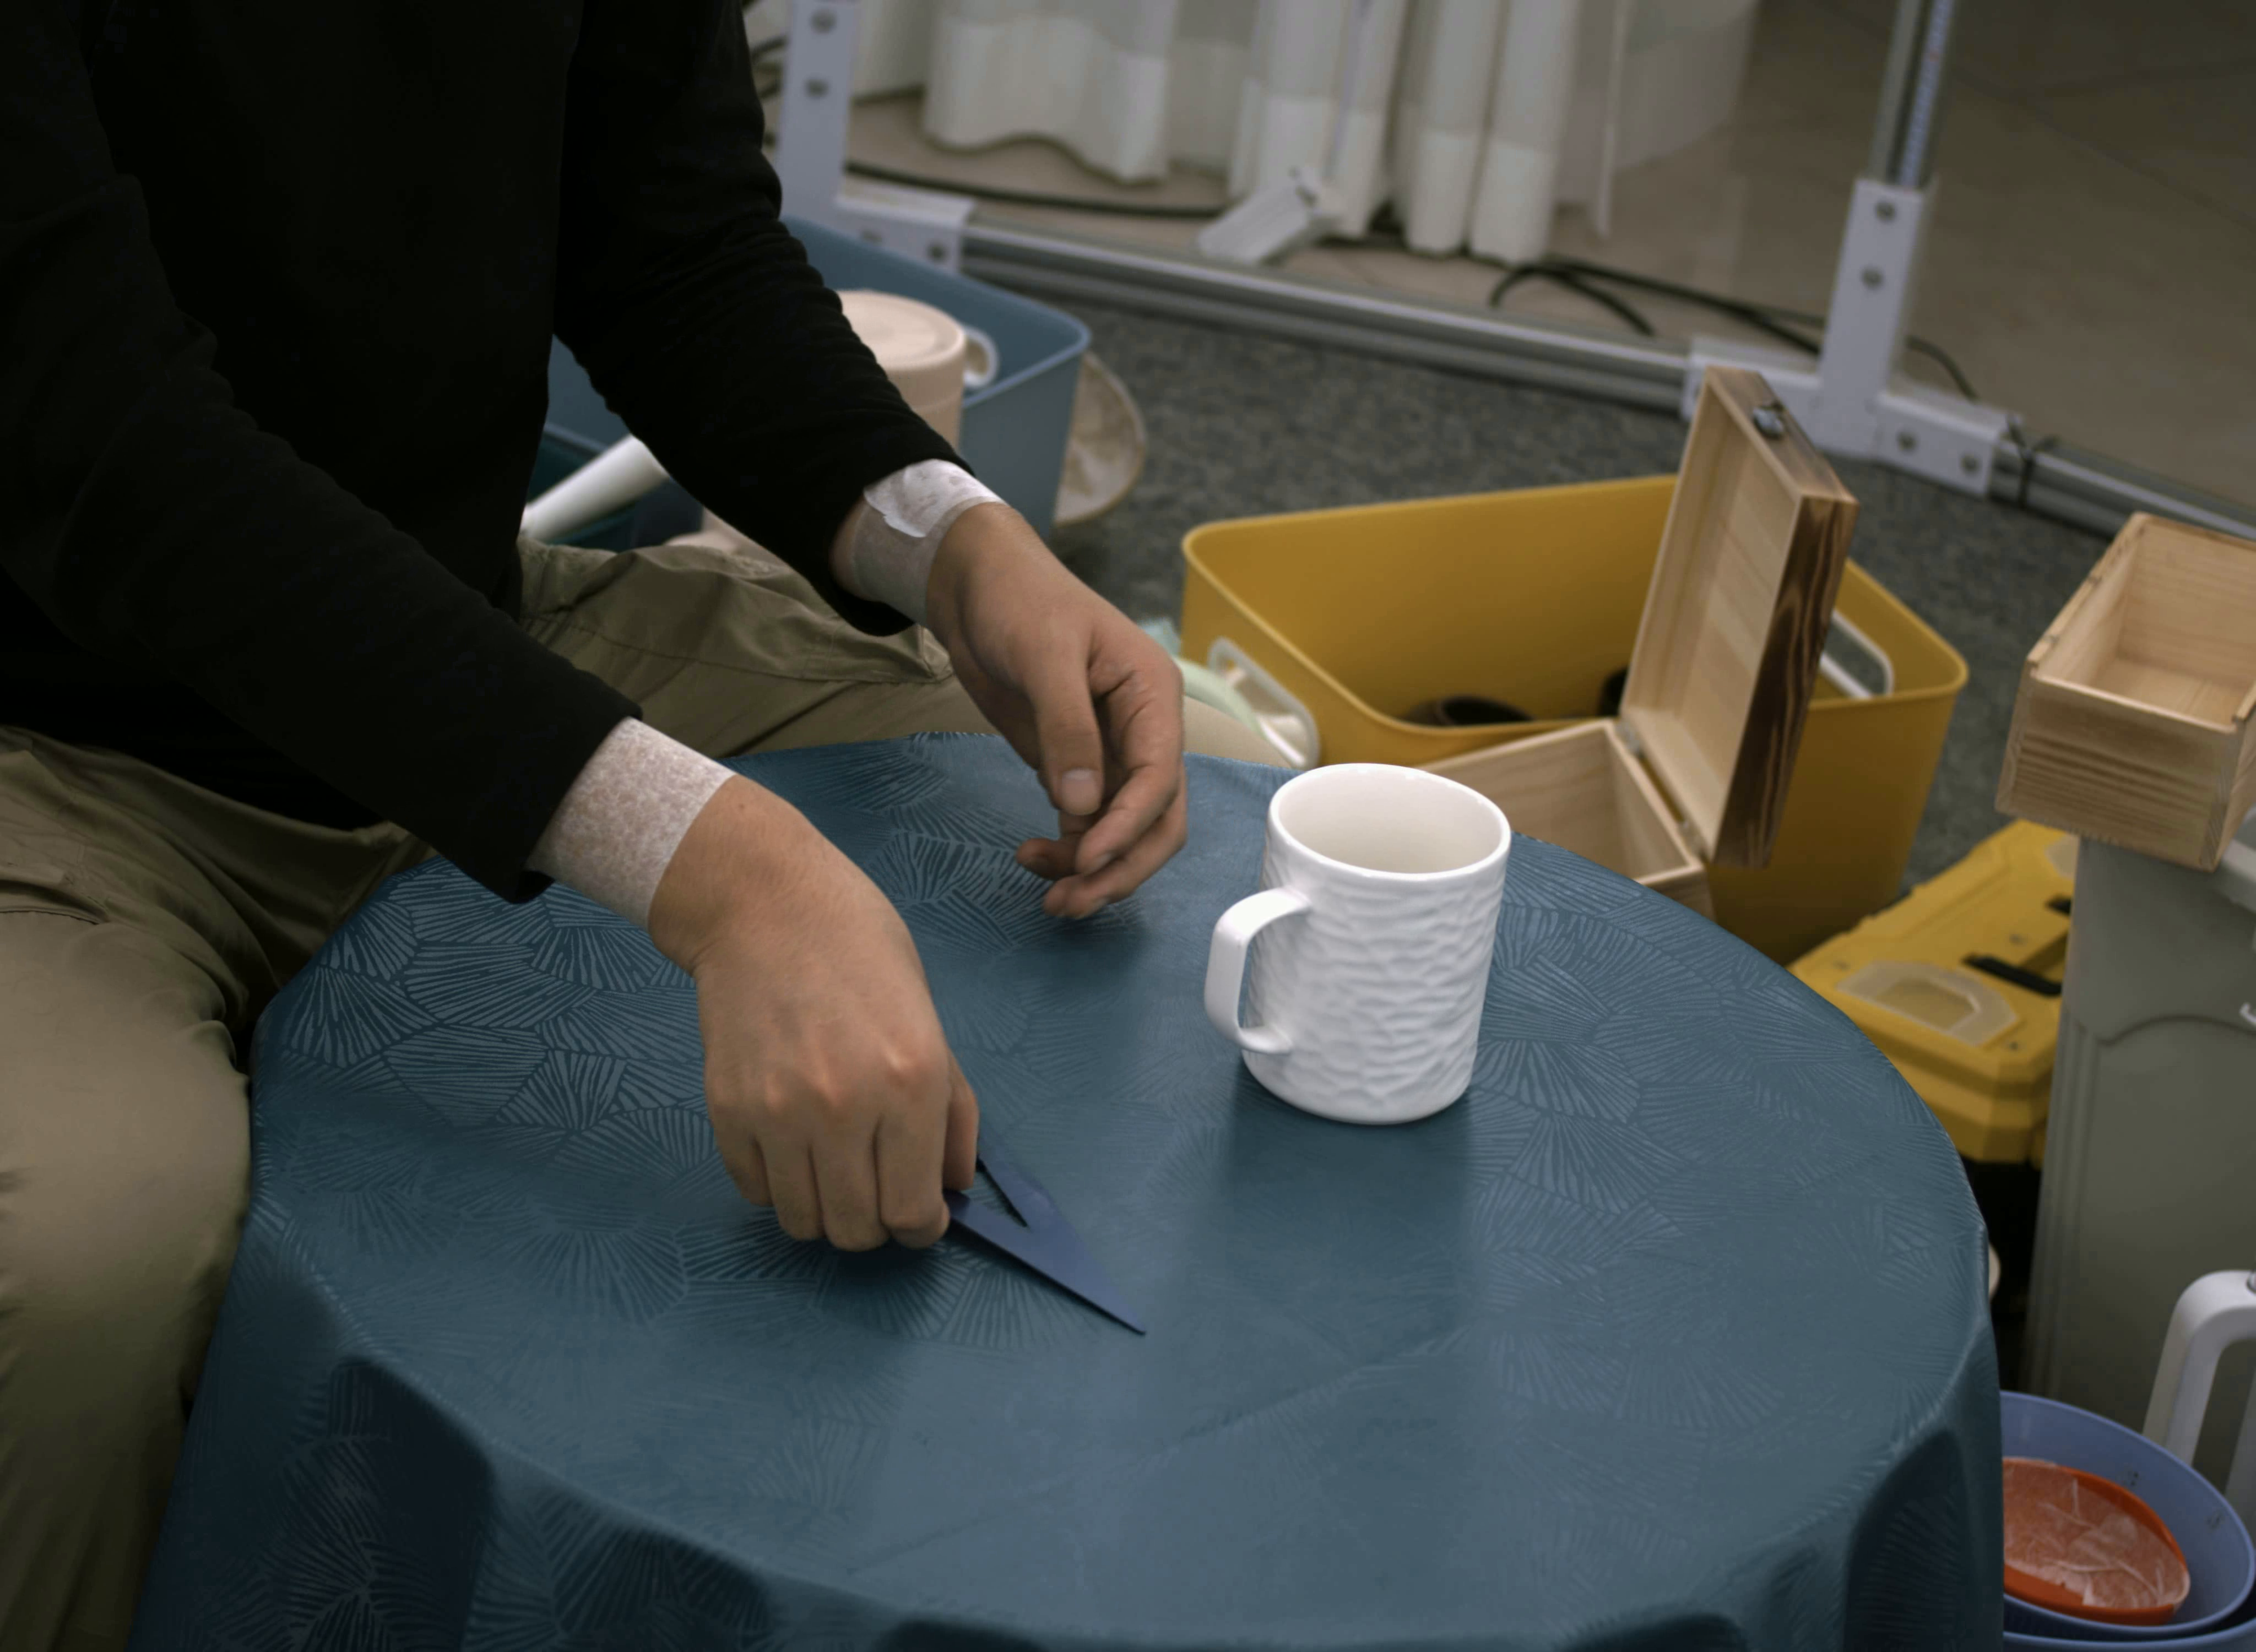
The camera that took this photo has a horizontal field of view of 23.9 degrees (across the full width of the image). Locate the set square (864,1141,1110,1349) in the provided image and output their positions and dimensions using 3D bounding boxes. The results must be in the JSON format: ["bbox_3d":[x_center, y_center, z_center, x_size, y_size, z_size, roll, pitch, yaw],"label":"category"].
[{"bbox_3d":[-0.049,0.135,1.754,0.060,0.006,0.133,6,25,-23],"label":"set square"}]

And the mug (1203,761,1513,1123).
[{"bbox_3d":[0.074,0.045,1.859,0.117,0.101,0.085,-16,35,-38],"label":"mug"}]
